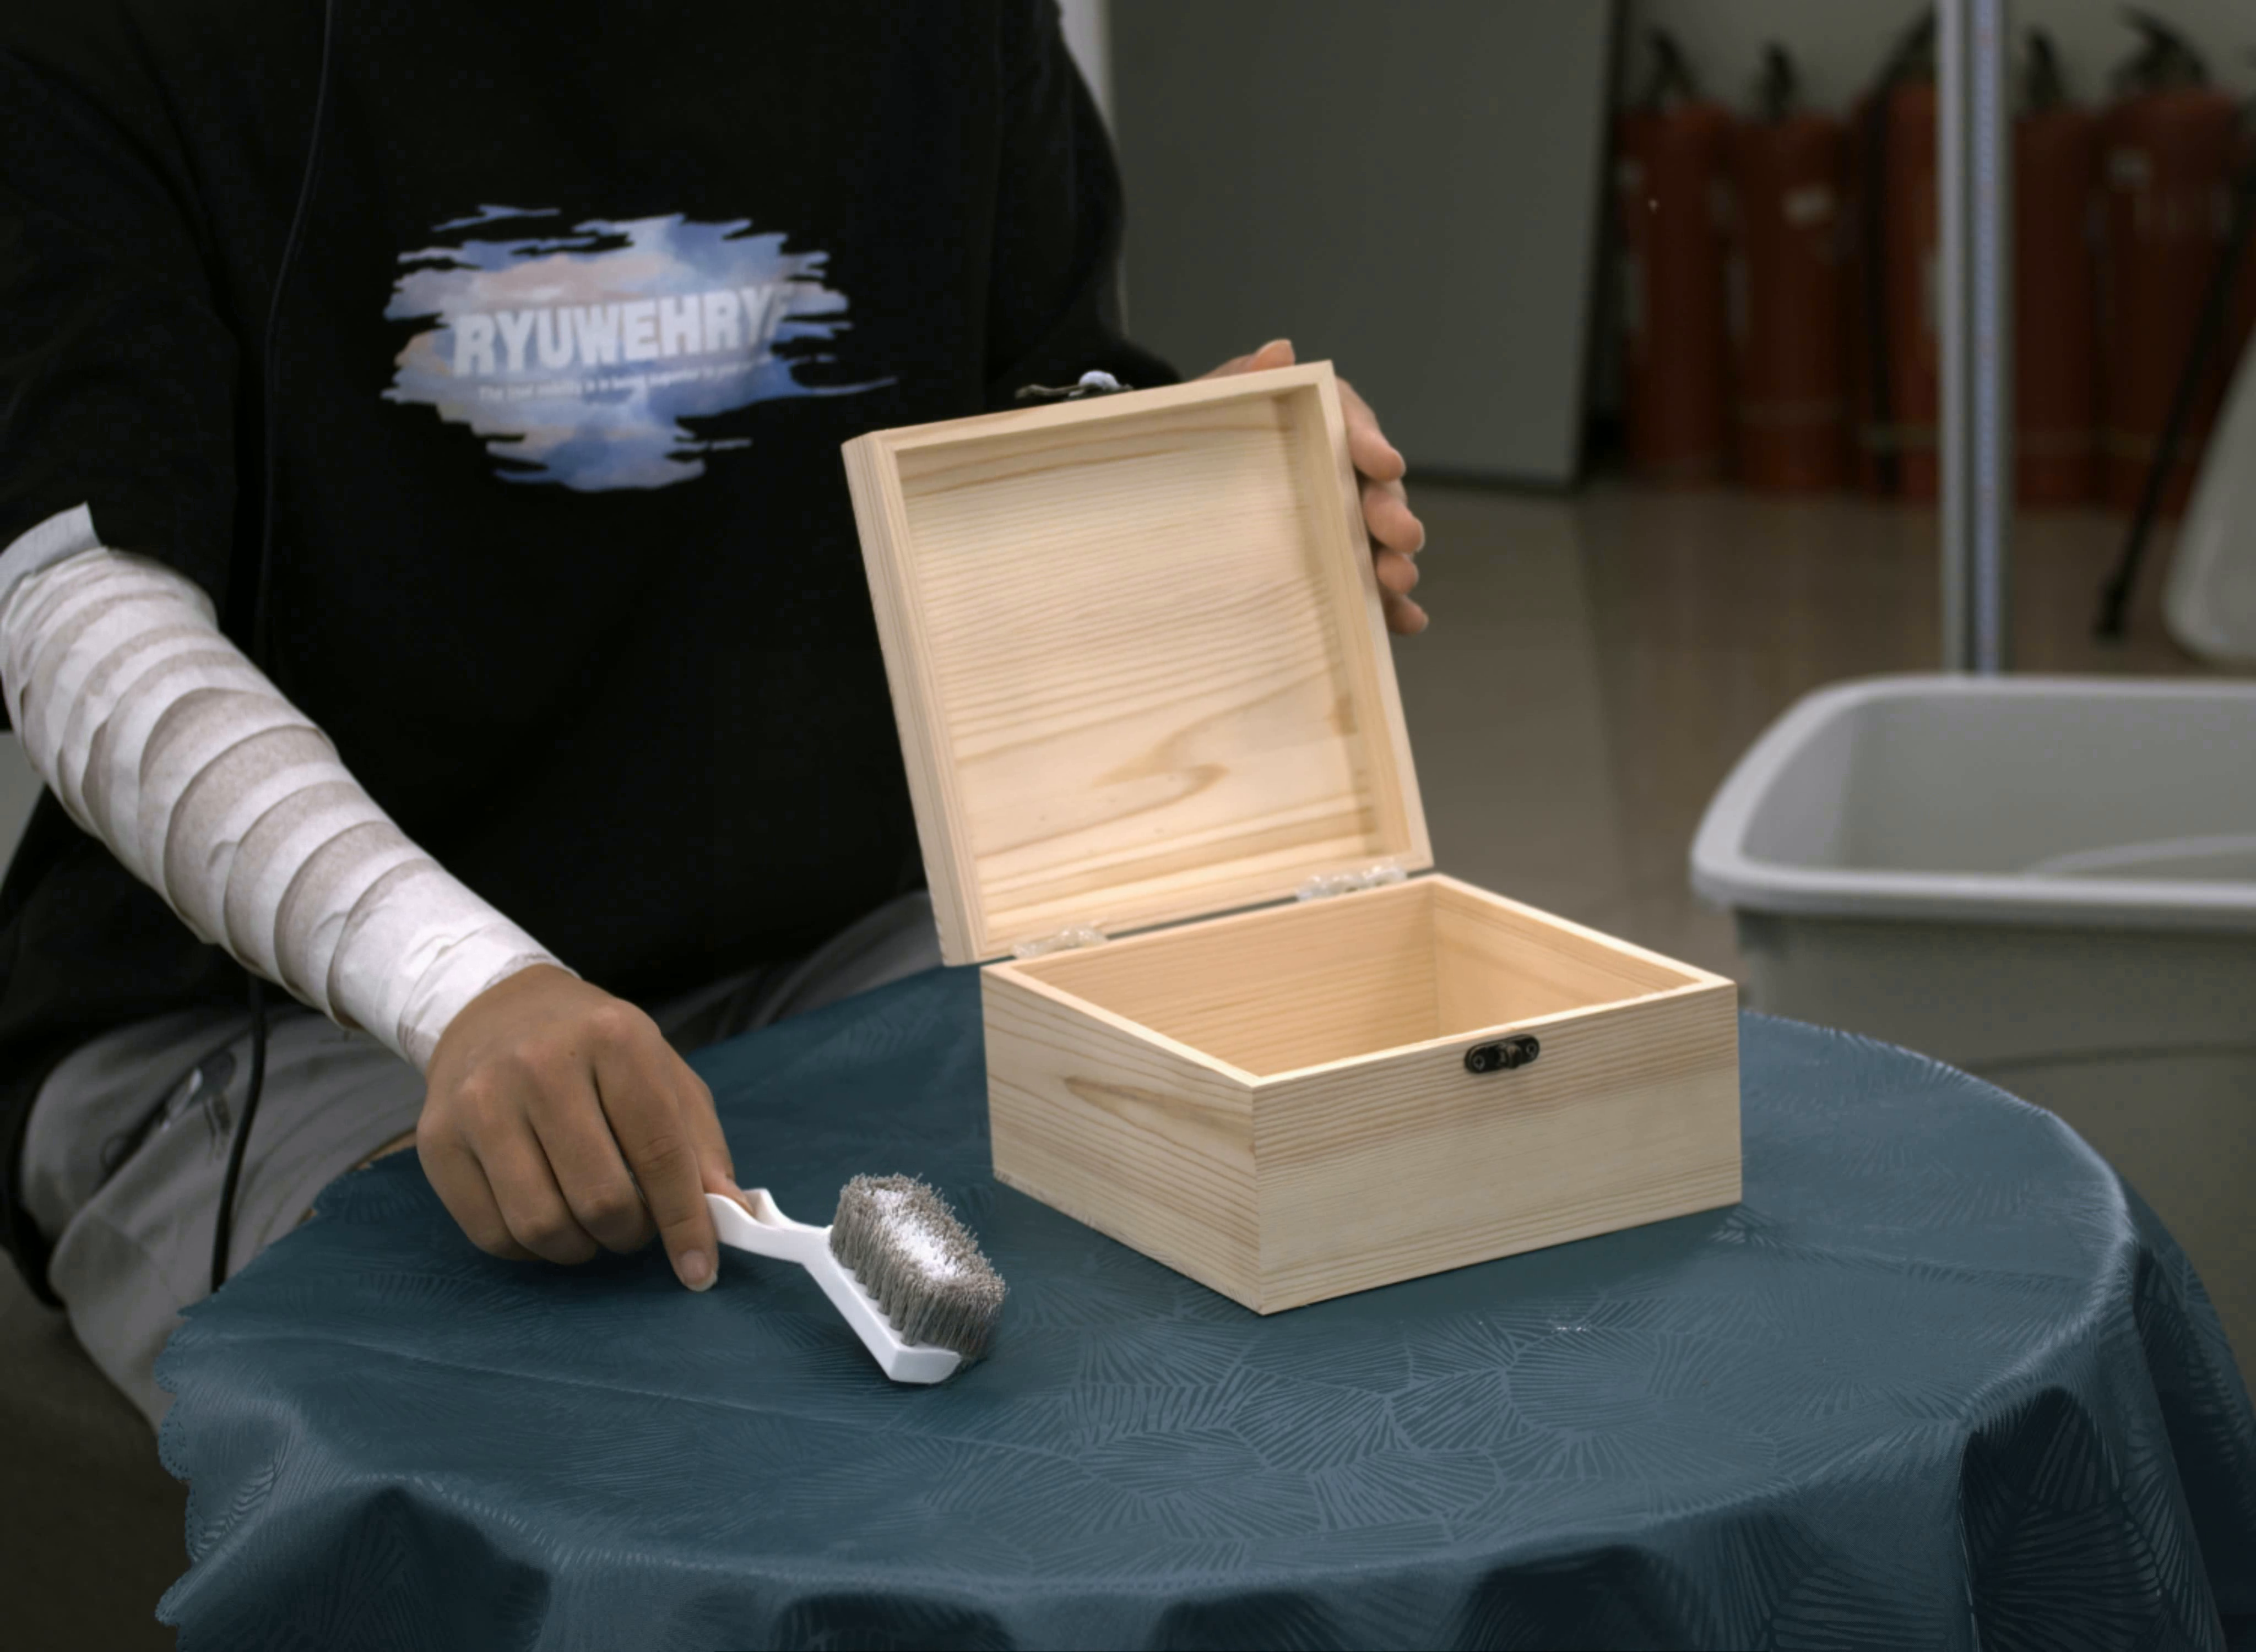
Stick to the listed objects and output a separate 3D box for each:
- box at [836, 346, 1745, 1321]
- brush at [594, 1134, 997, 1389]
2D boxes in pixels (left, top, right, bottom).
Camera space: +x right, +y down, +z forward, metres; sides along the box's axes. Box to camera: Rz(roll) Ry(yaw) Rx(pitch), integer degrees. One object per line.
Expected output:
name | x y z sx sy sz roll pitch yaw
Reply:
box | 0.052 -0.008 1.759 0.178 0.256 0.268 -12 15 -27
brush | -0.109 0.116 1.690 0.033 0.051 0.246 -2 15 -29
